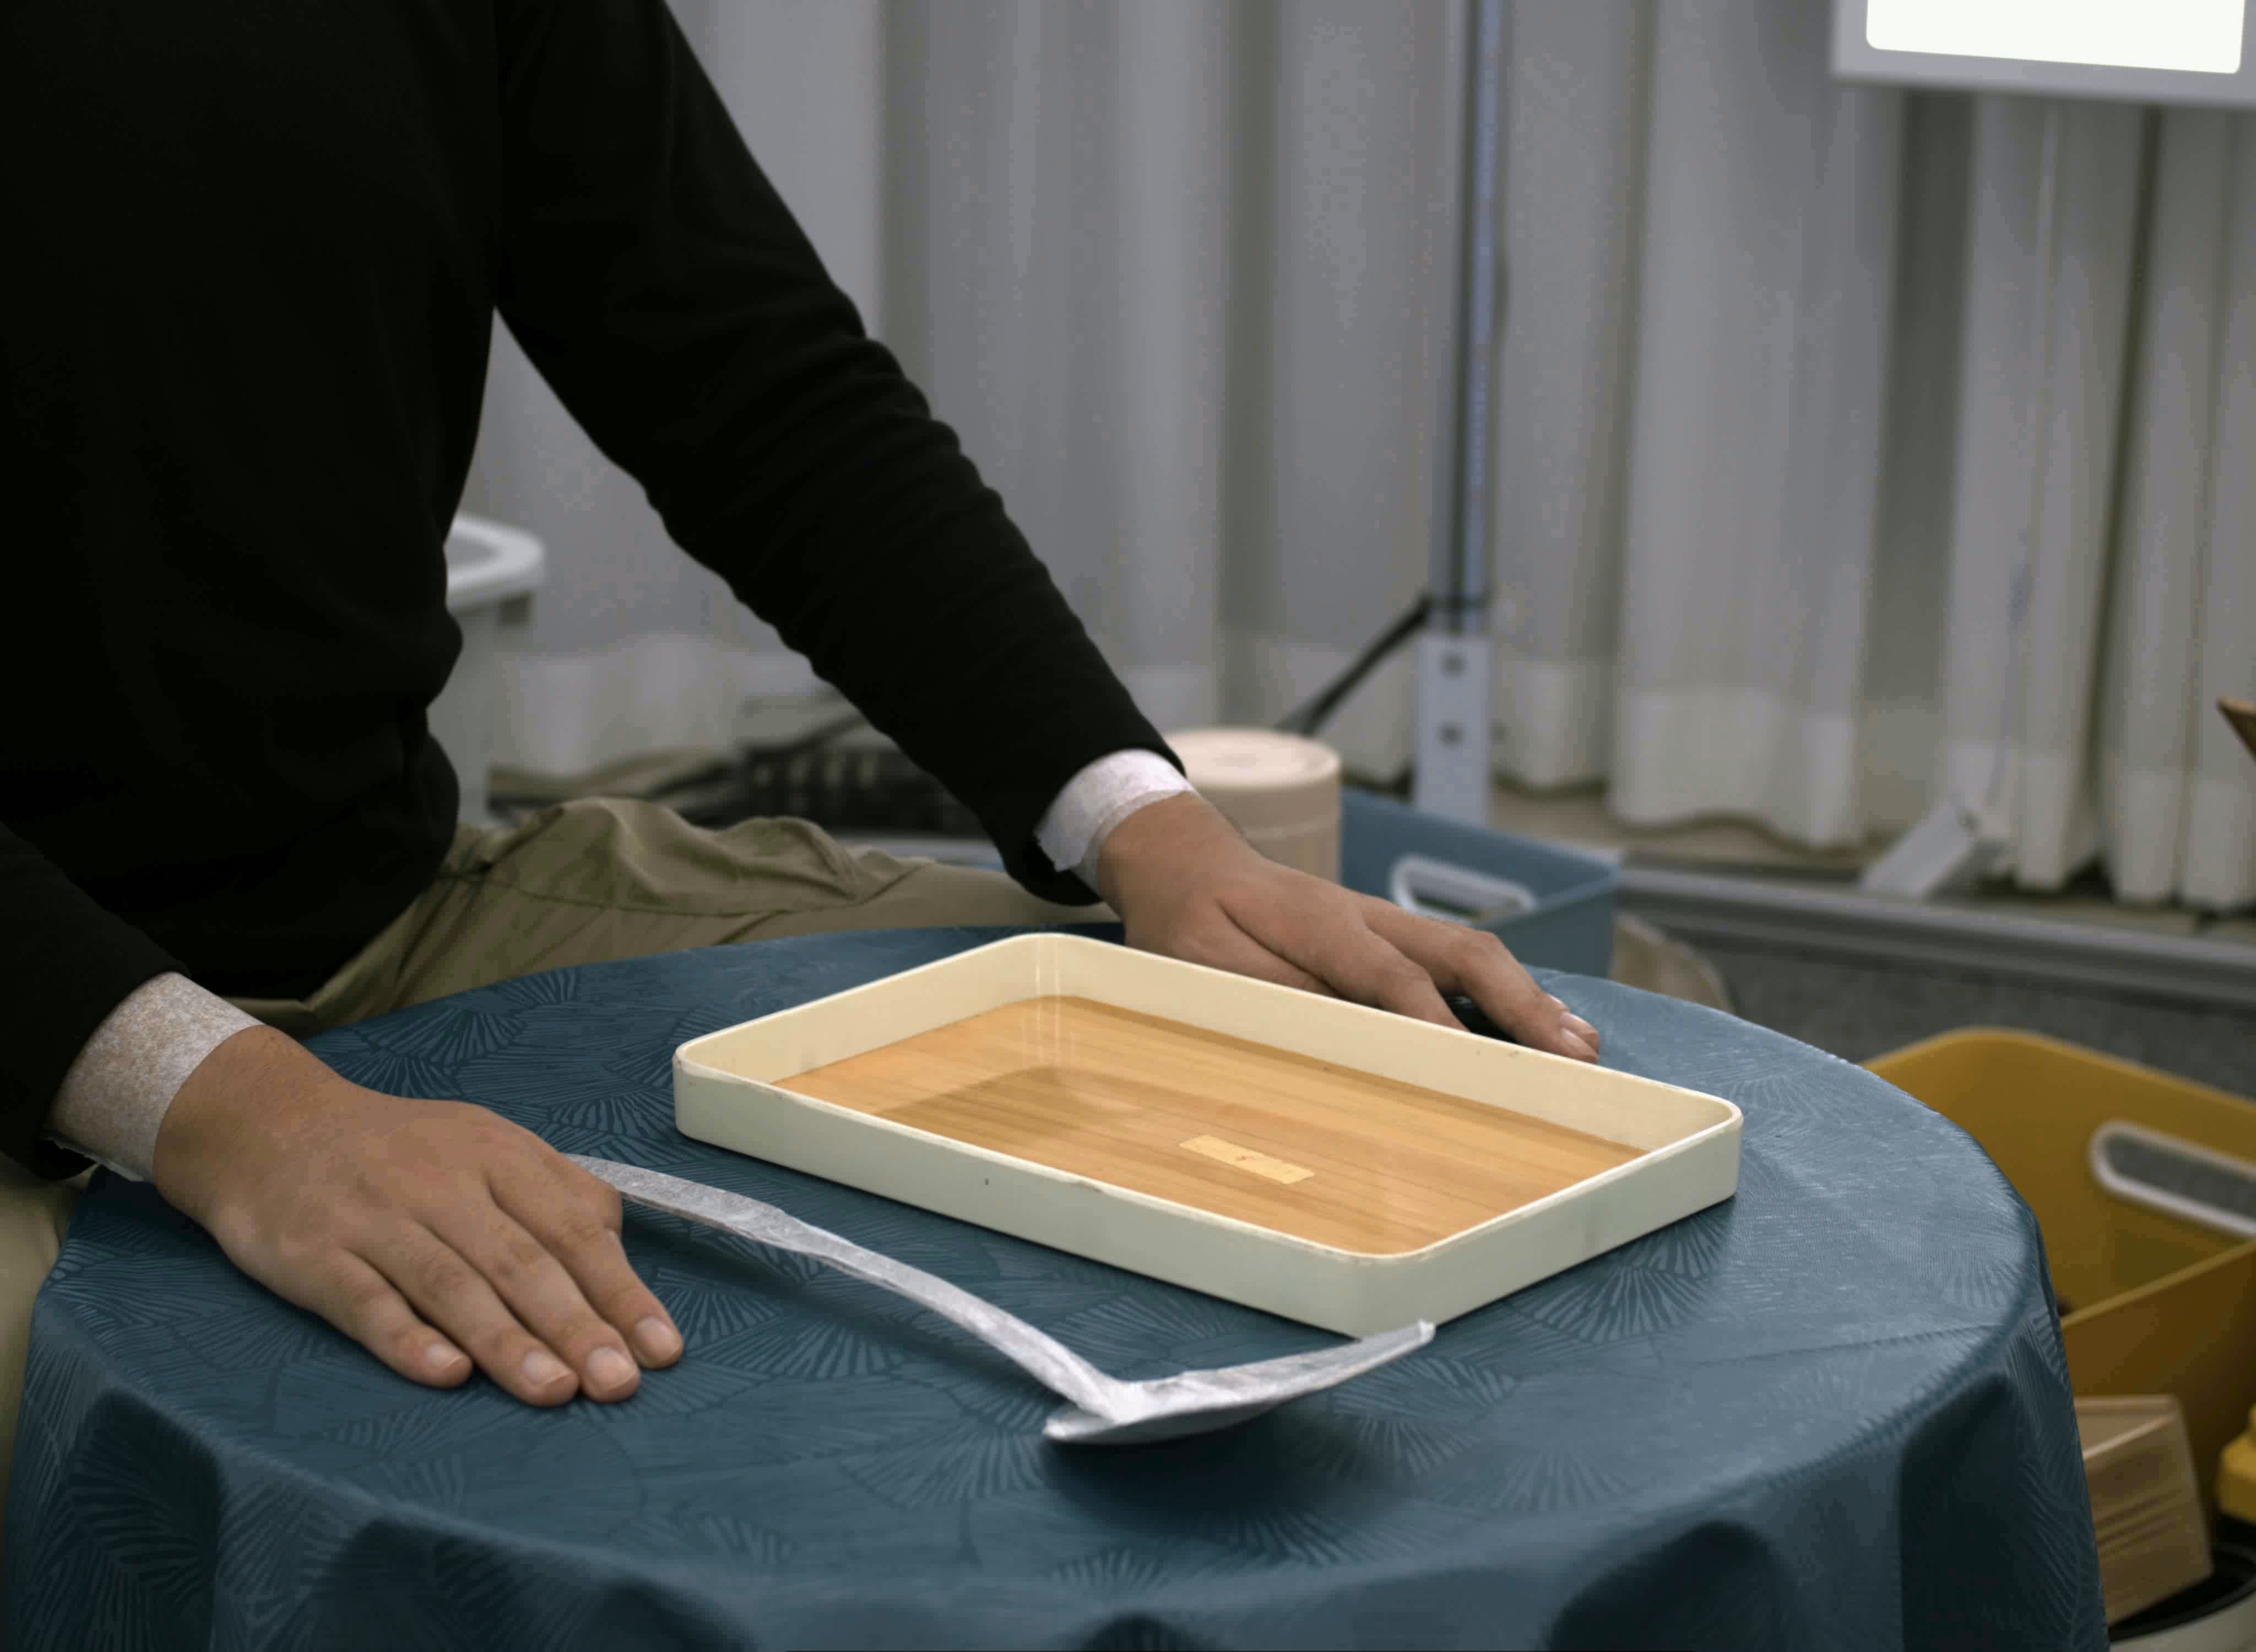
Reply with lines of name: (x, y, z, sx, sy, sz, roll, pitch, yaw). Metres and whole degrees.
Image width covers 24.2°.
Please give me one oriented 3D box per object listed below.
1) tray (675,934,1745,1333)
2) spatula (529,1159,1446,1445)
tray: (0.023, 0.092, 1.646, 0.296, 0.027, 0.192, 13, 20, 39)
spatula: (-0.064, 0.125, 1.500, 0.099, 0.045, 0.360, -15, 22, -42)
